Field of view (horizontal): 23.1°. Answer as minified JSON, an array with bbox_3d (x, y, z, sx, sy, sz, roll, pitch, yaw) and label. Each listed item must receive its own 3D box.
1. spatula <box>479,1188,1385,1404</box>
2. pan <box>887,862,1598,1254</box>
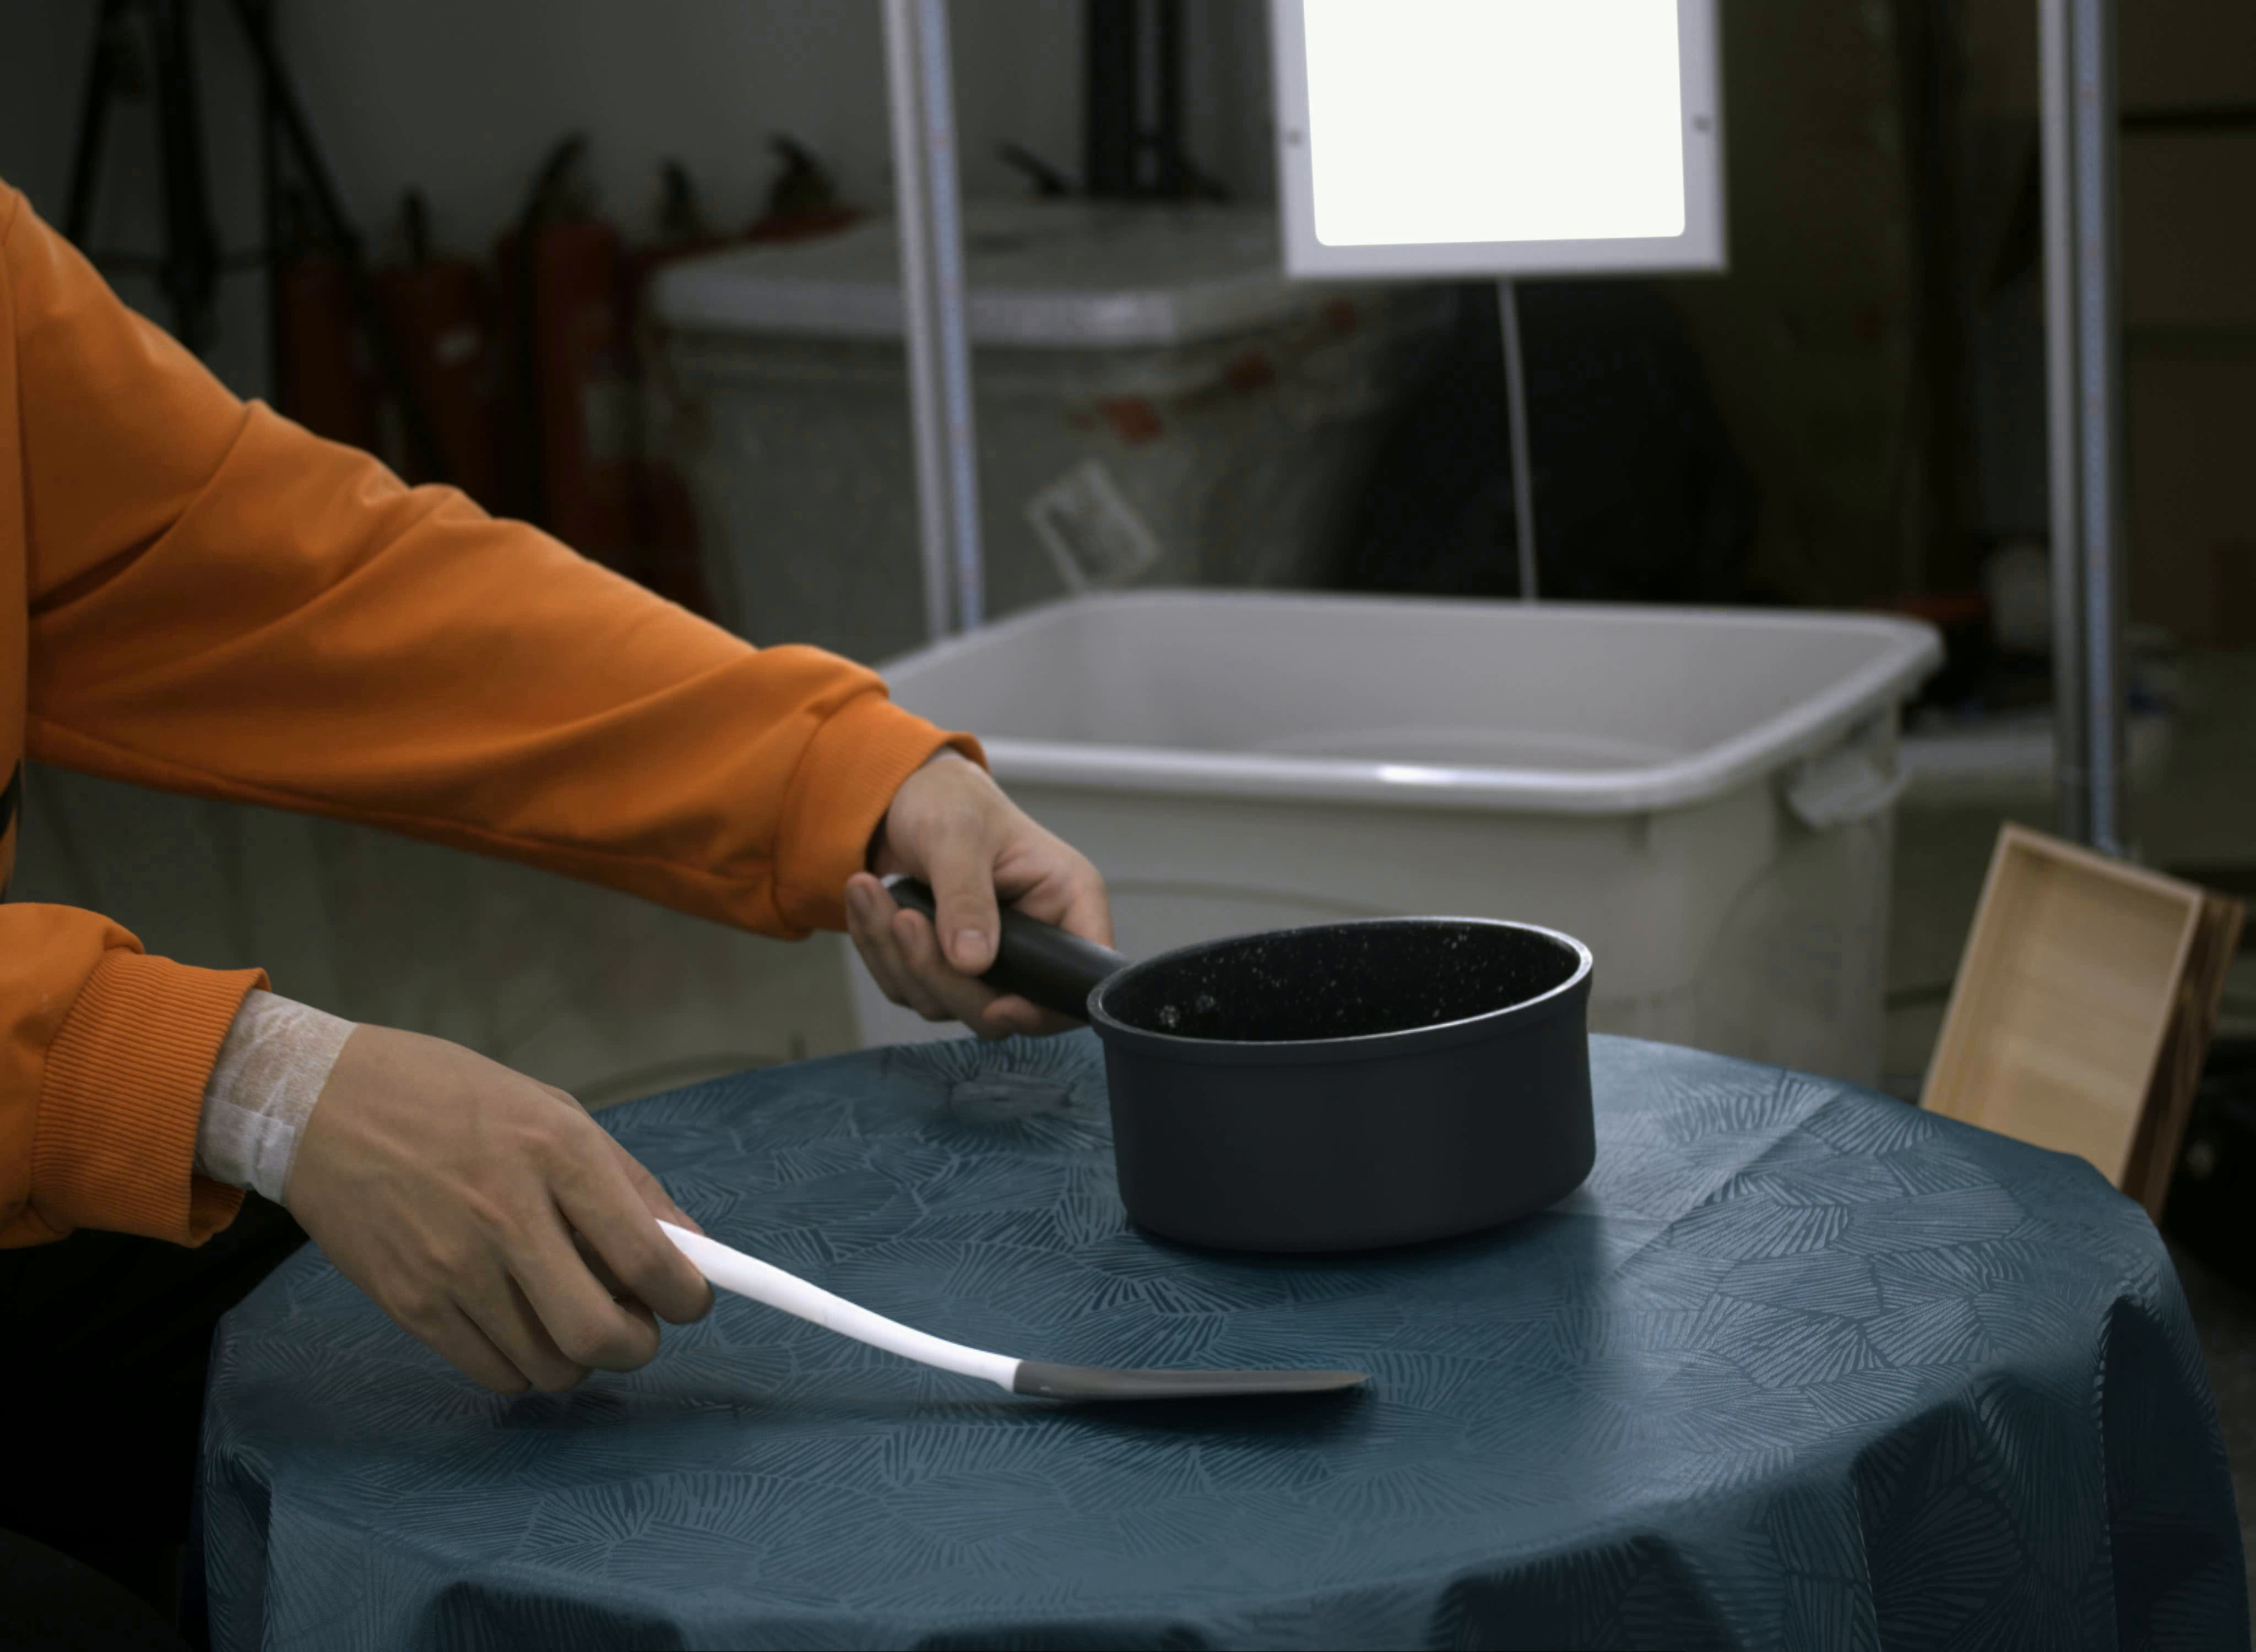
[{"bbox_3d":[-0.063,0.153,1.701,0.290,0.032,0.058,10,-1,17],"label":"spatula"},{"bbox_3d":[0.025,0.075,1.922,0.168,0.087,0.335,-14,15,-36],"label":"pan"}]
